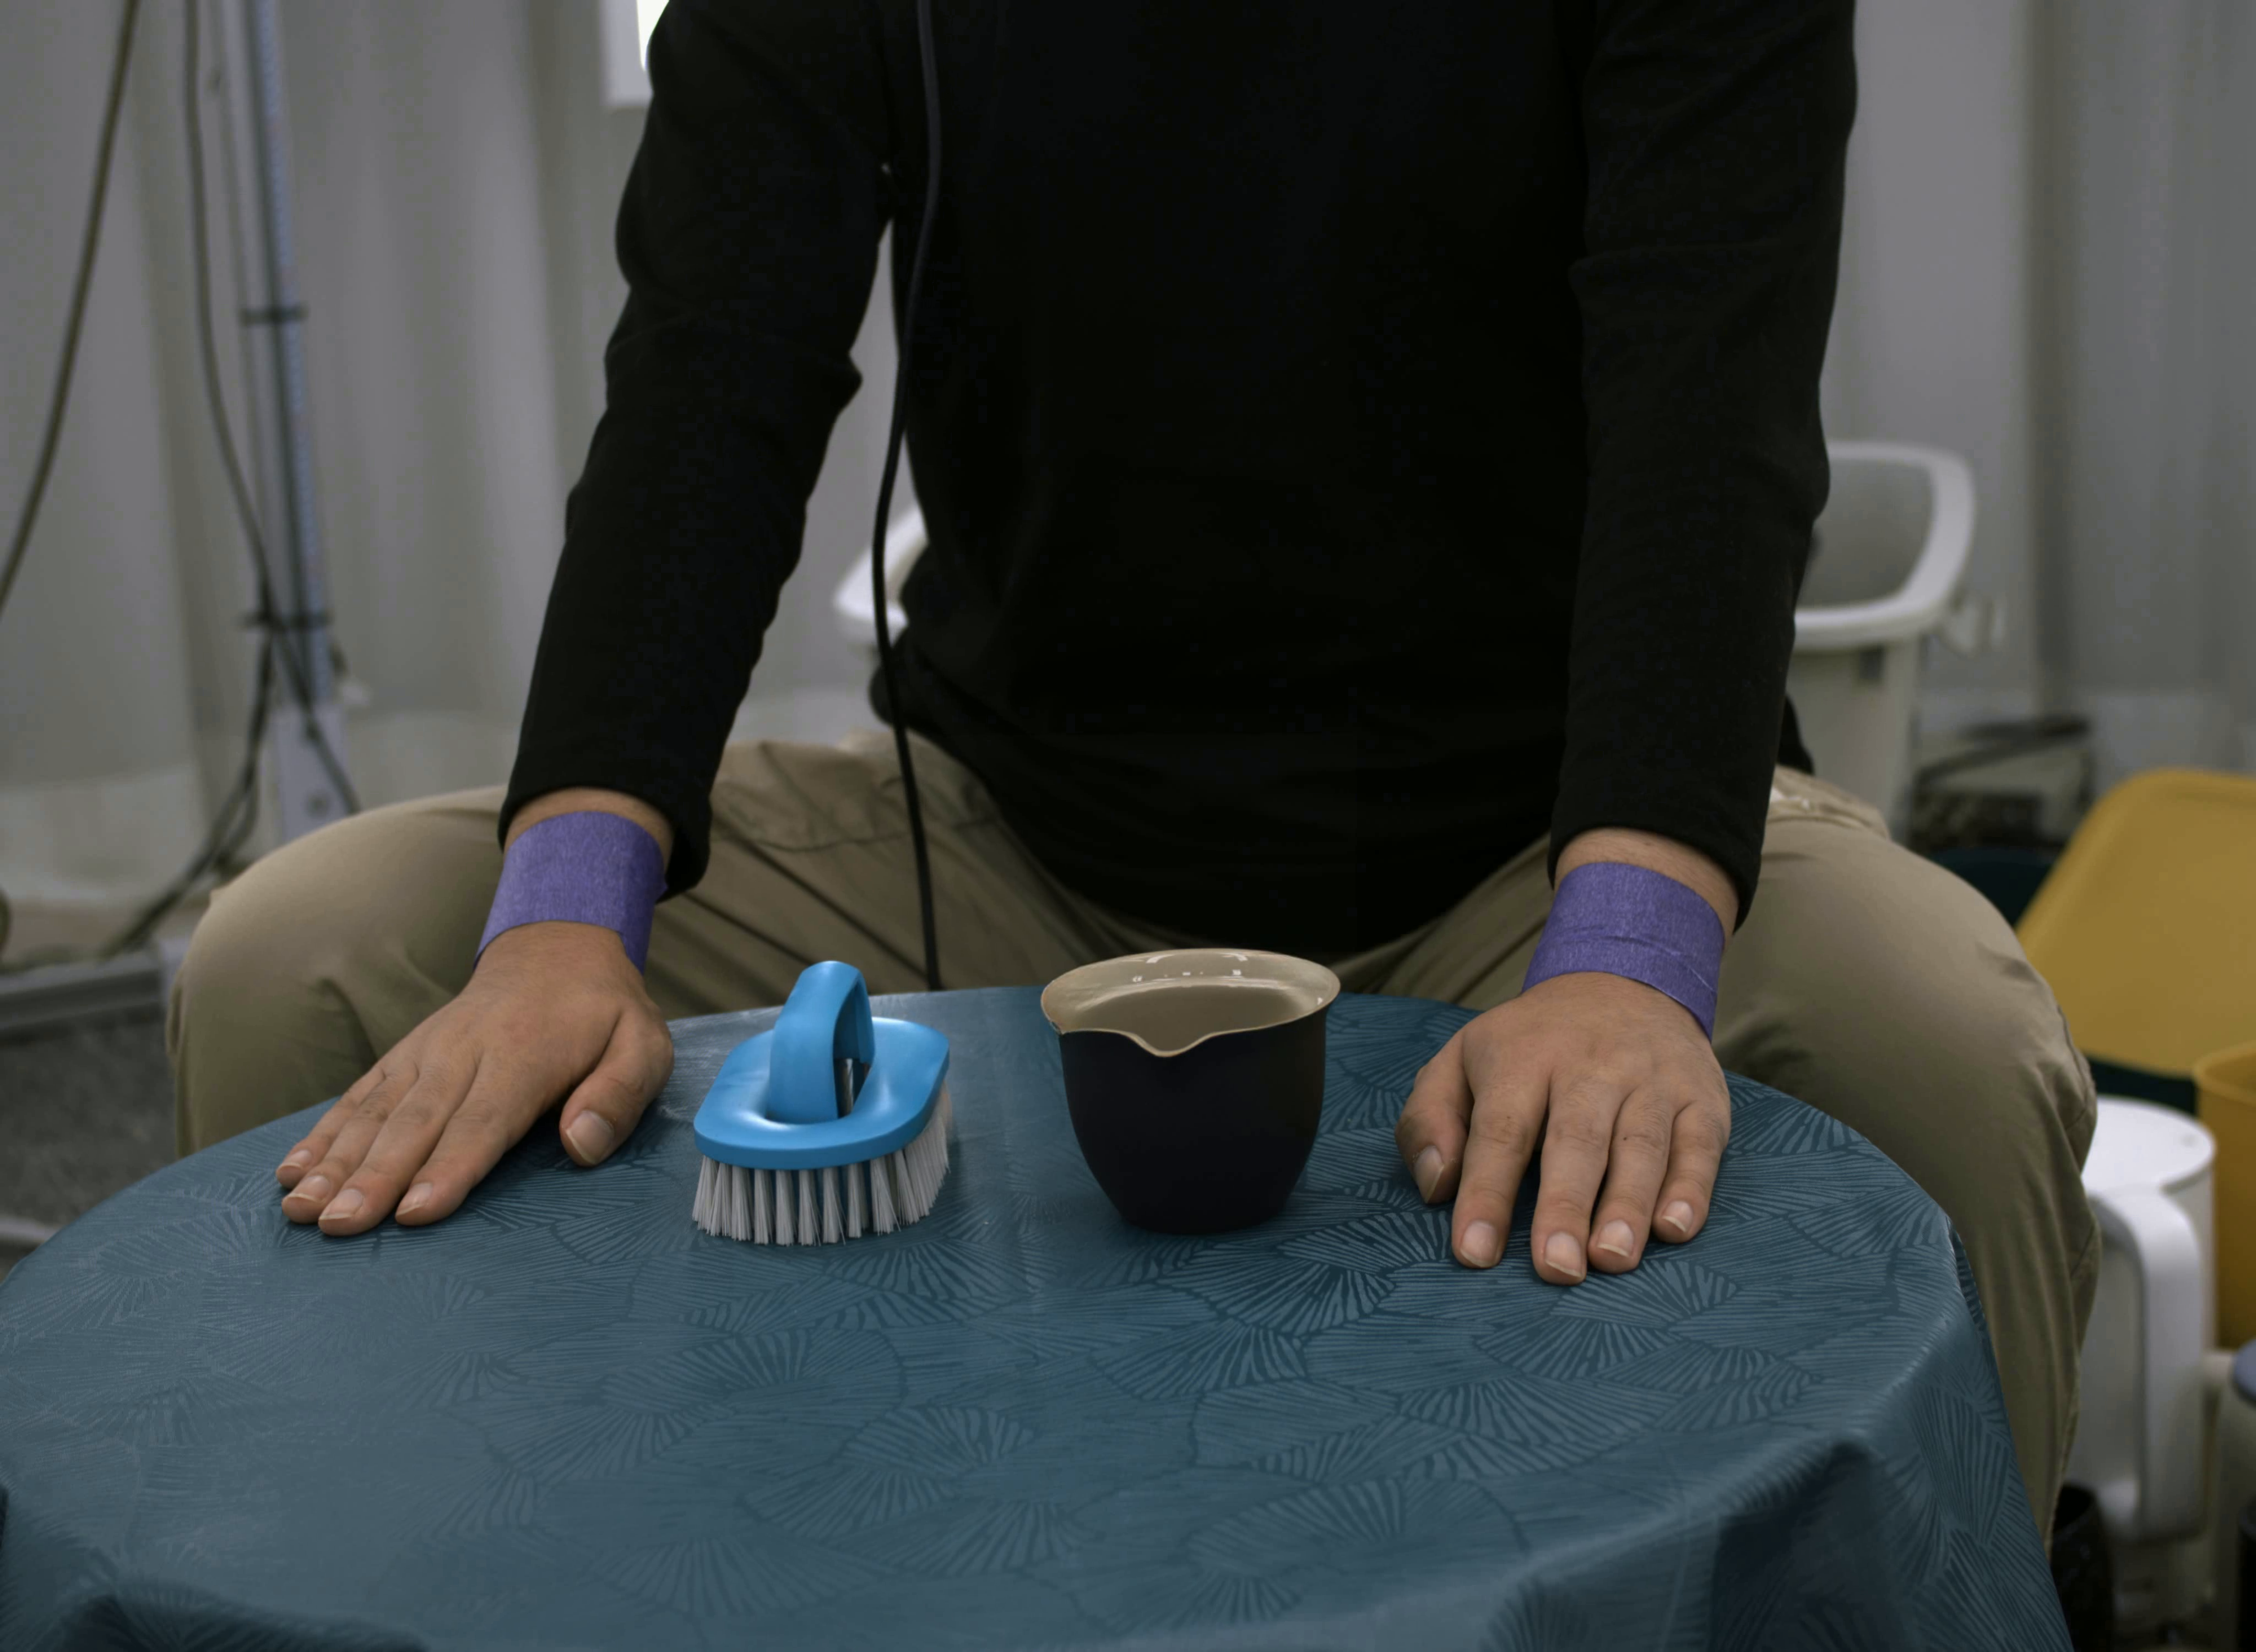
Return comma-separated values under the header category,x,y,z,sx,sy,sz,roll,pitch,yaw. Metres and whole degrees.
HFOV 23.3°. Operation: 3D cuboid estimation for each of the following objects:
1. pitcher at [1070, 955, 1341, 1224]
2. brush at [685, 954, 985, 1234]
category,x,y,z,sx,sy,sz,roll,pitch,yaw
pitcher,0.023,0.083,1.685,0.083,0.071,0.096,2,17,15
brush,-0.094,0.079,1.740,0.084,0.063,0.142,-5,13,8
